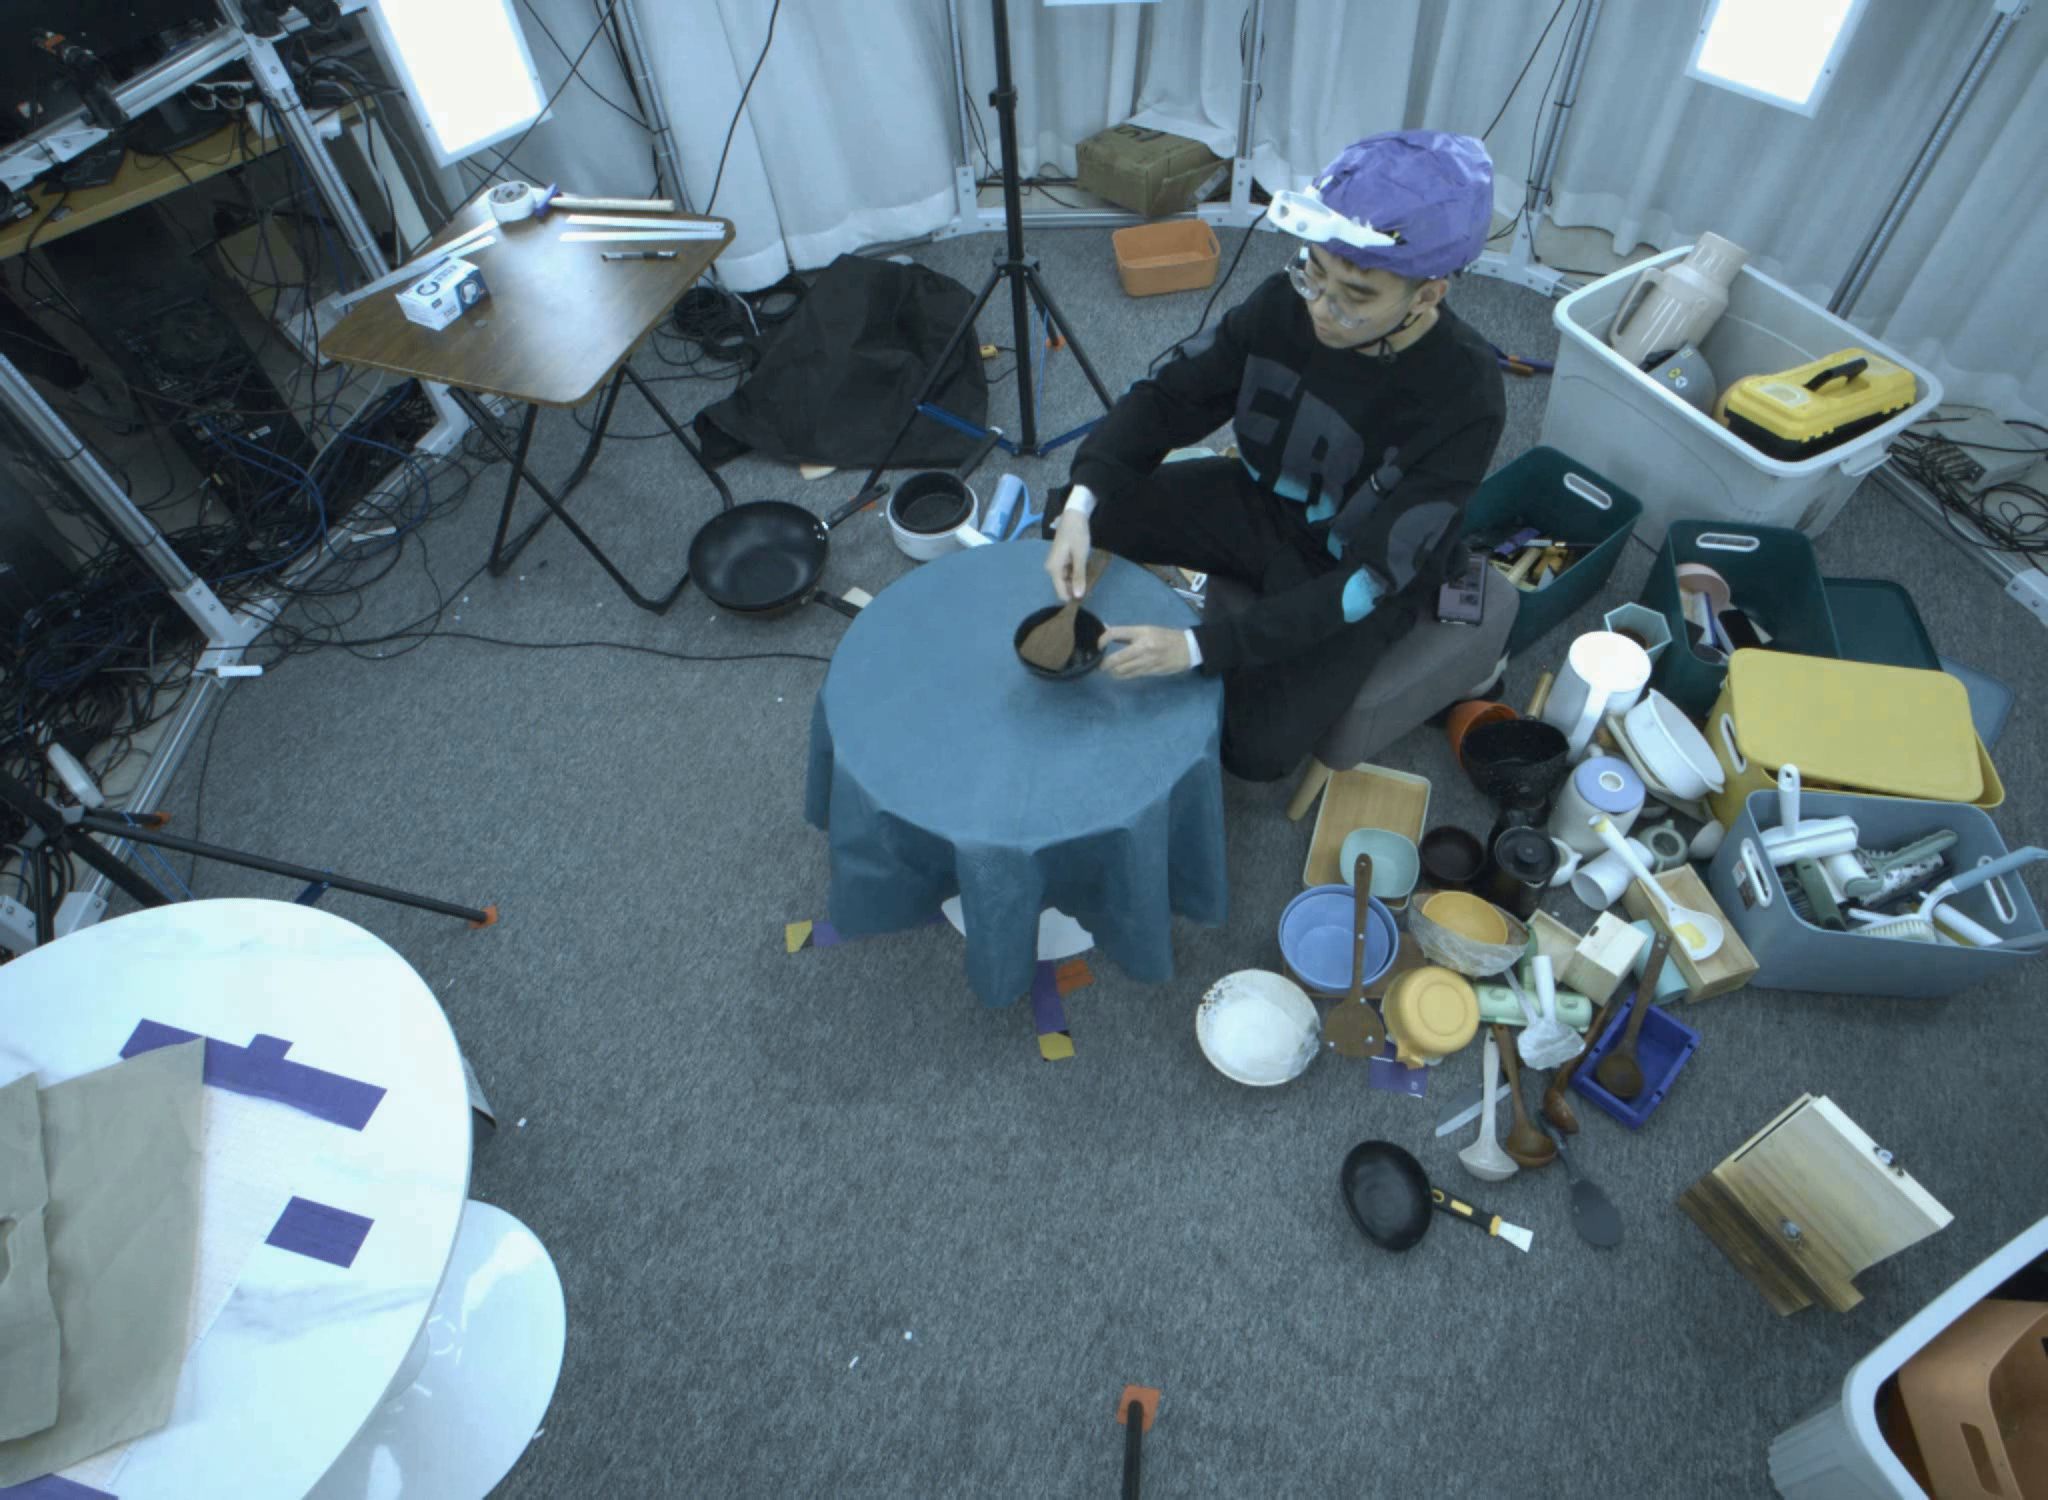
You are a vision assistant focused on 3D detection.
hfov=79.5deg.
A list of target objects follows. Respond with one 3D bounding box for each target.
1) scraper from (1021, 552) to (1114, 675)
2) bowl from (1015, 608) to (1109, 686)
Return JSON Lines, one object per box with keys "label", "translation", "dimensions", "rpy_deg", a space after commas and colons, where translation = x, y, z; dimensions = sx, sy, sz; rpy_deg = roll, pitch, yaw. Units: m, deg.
{"label": "scraper", "translation": [0.075, -0.207, 1.831], "dimensions": [0.075, 0.011, 0.211], "rpy_deg": [27, 77, 12]}
{"label": "bowl", "translation": [0.058, -0.143, 1.818], "dimensions": [0.139, 0.050, 0.138], "rpy_deg": [-3, 53, 5]}
